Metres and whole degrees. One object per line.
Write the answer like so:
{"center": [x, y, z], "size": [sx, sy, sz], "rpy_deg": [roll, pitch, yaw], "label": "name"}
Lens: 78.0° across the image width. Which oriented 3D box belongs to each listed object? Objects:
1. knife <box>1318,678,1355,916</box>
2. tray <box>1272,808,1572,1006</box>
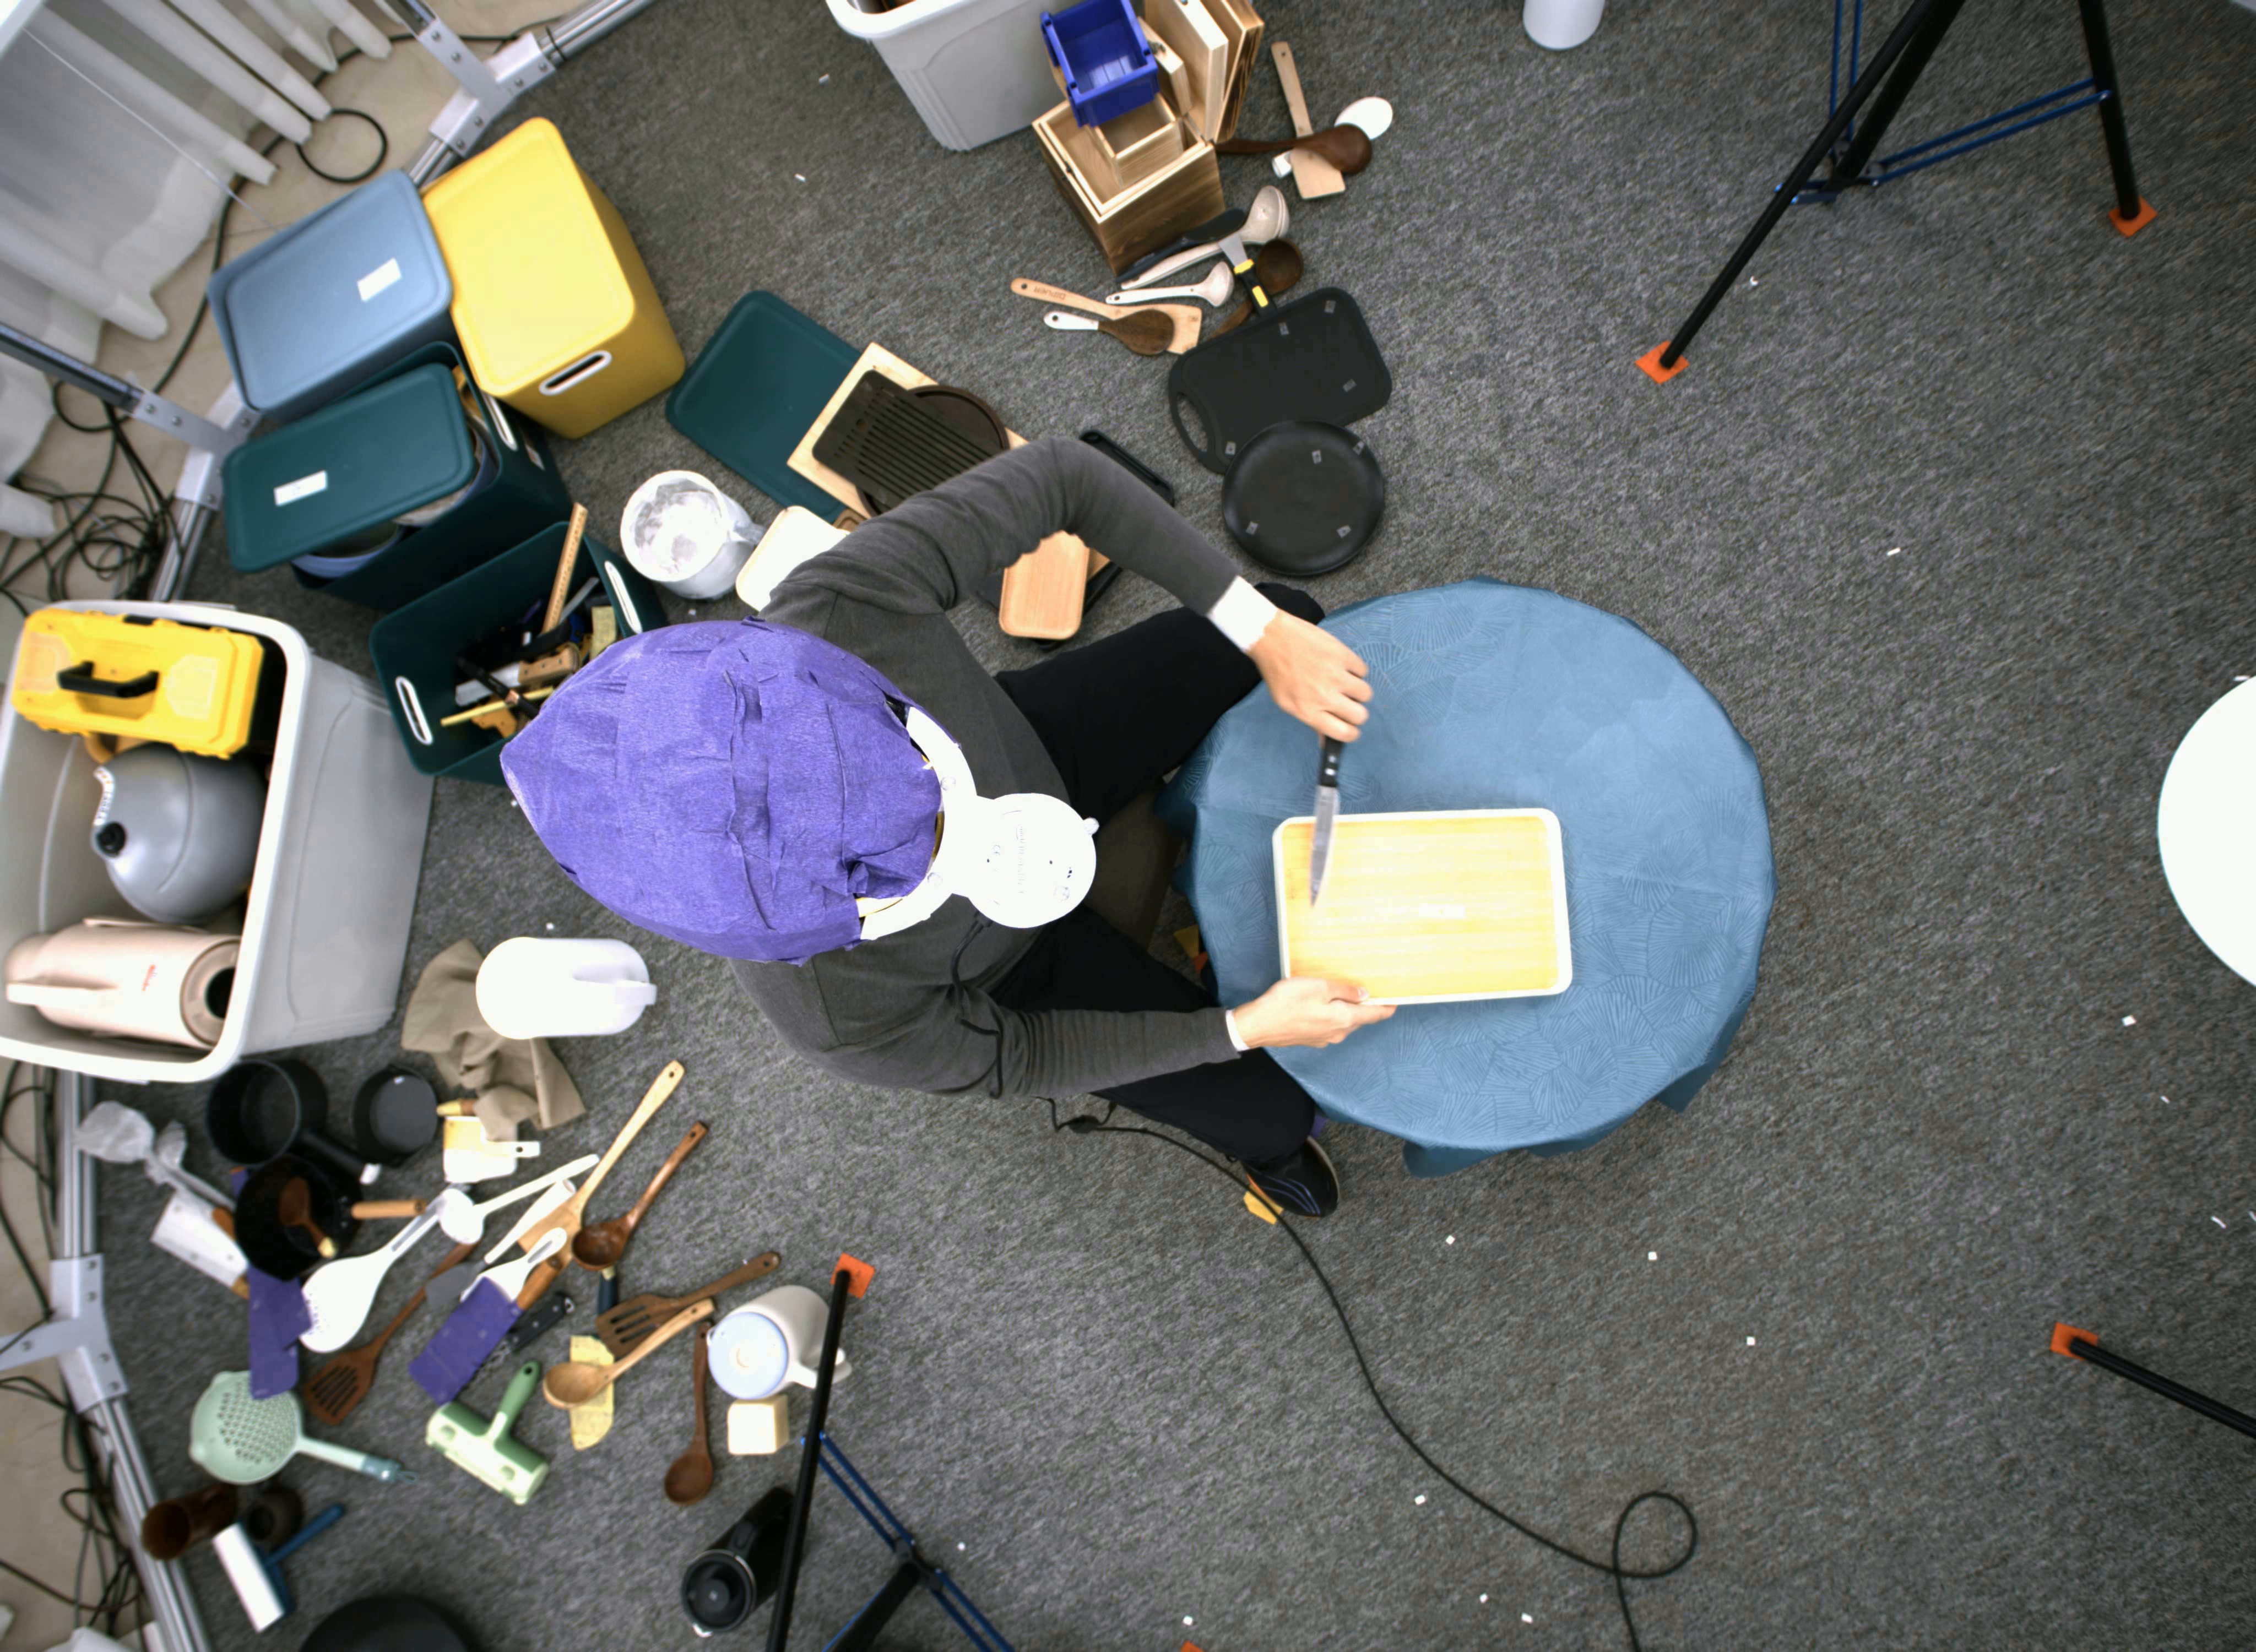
{"center": [0.202, -0.031, 1.355], "size": [0.024, 0.016, 0.237], "rpy_deg": [6, 88, -7], "label": "knife"}
{"center": [0.299, 0.079, 1.397], "size": [0.300, 0.027, 0.190], "rpy_deg": [-2, 85, -7], "label": "tray"}
